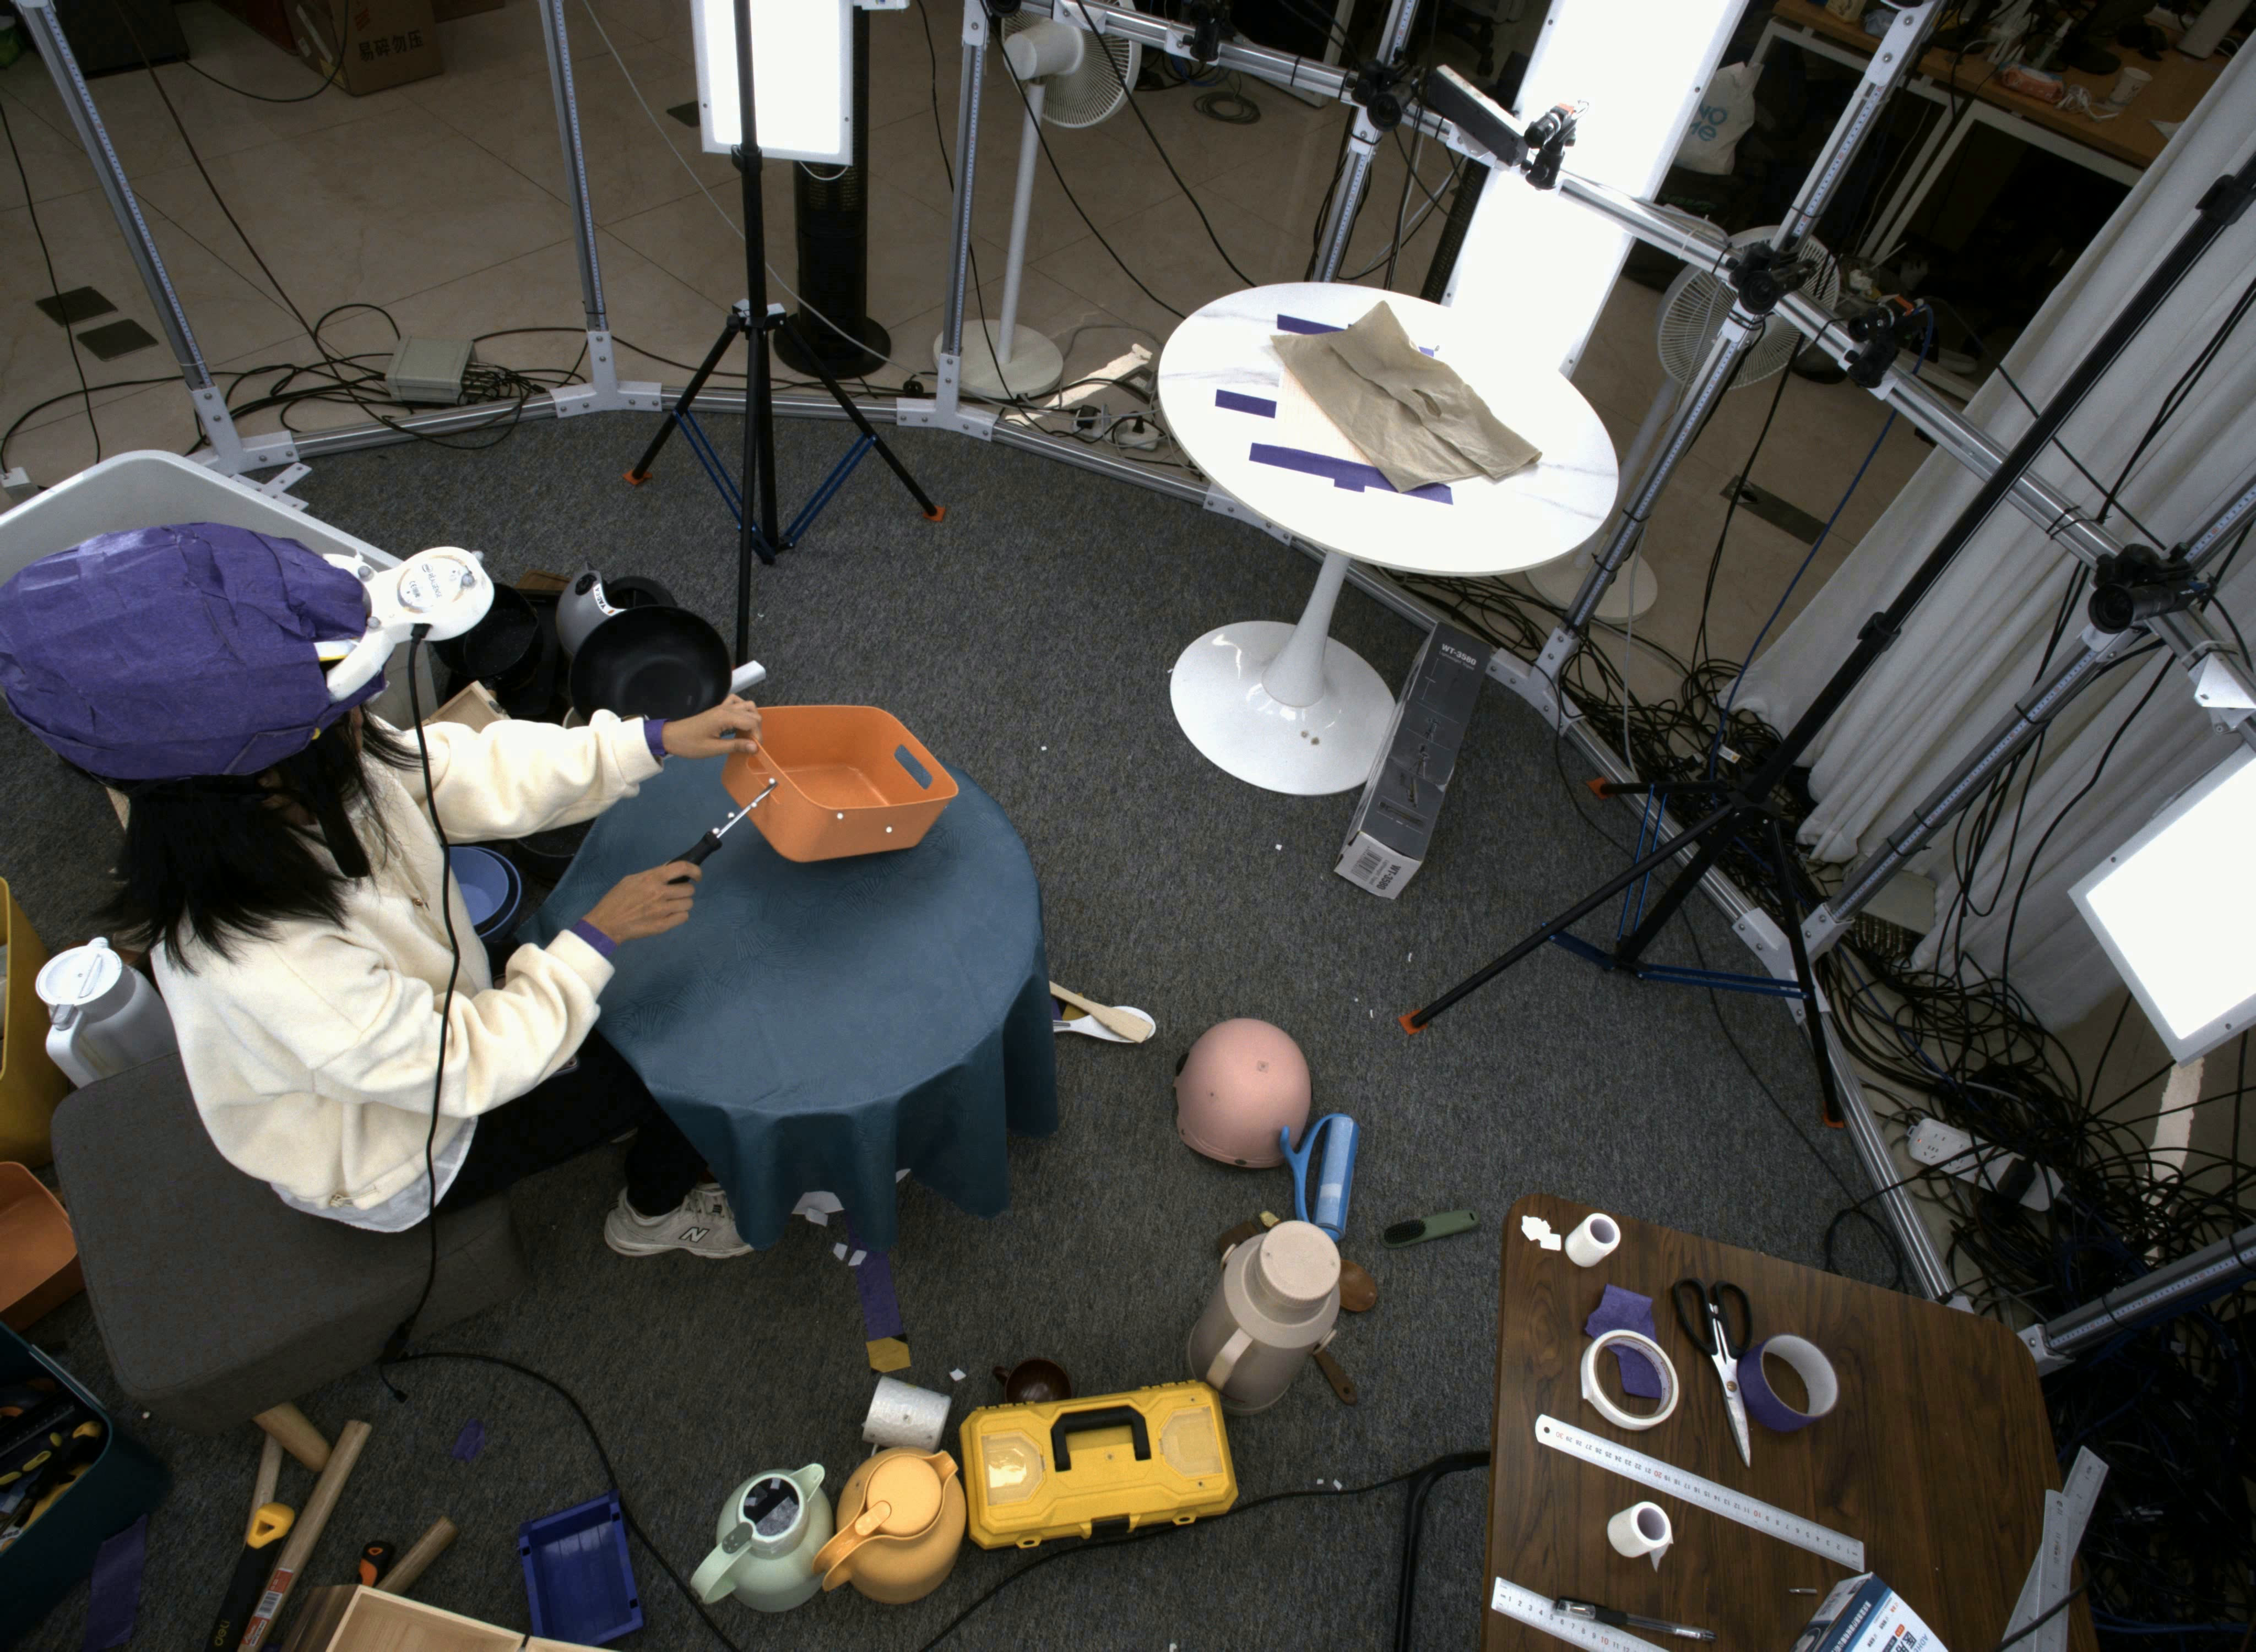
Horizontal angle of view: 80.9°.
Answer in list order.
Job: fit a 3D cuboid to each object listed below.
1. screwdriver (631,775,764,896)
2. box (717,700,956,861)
[{"bbox_3d":[-0.498,0.005,1.493,0.031,0.032,0.198,36,66,16],"label":"screwdriver"},{"bbox_3d":[-0.374,-0.059,1.645,0.195,0.103,0.277,46,26,20],"label":"box"}]
